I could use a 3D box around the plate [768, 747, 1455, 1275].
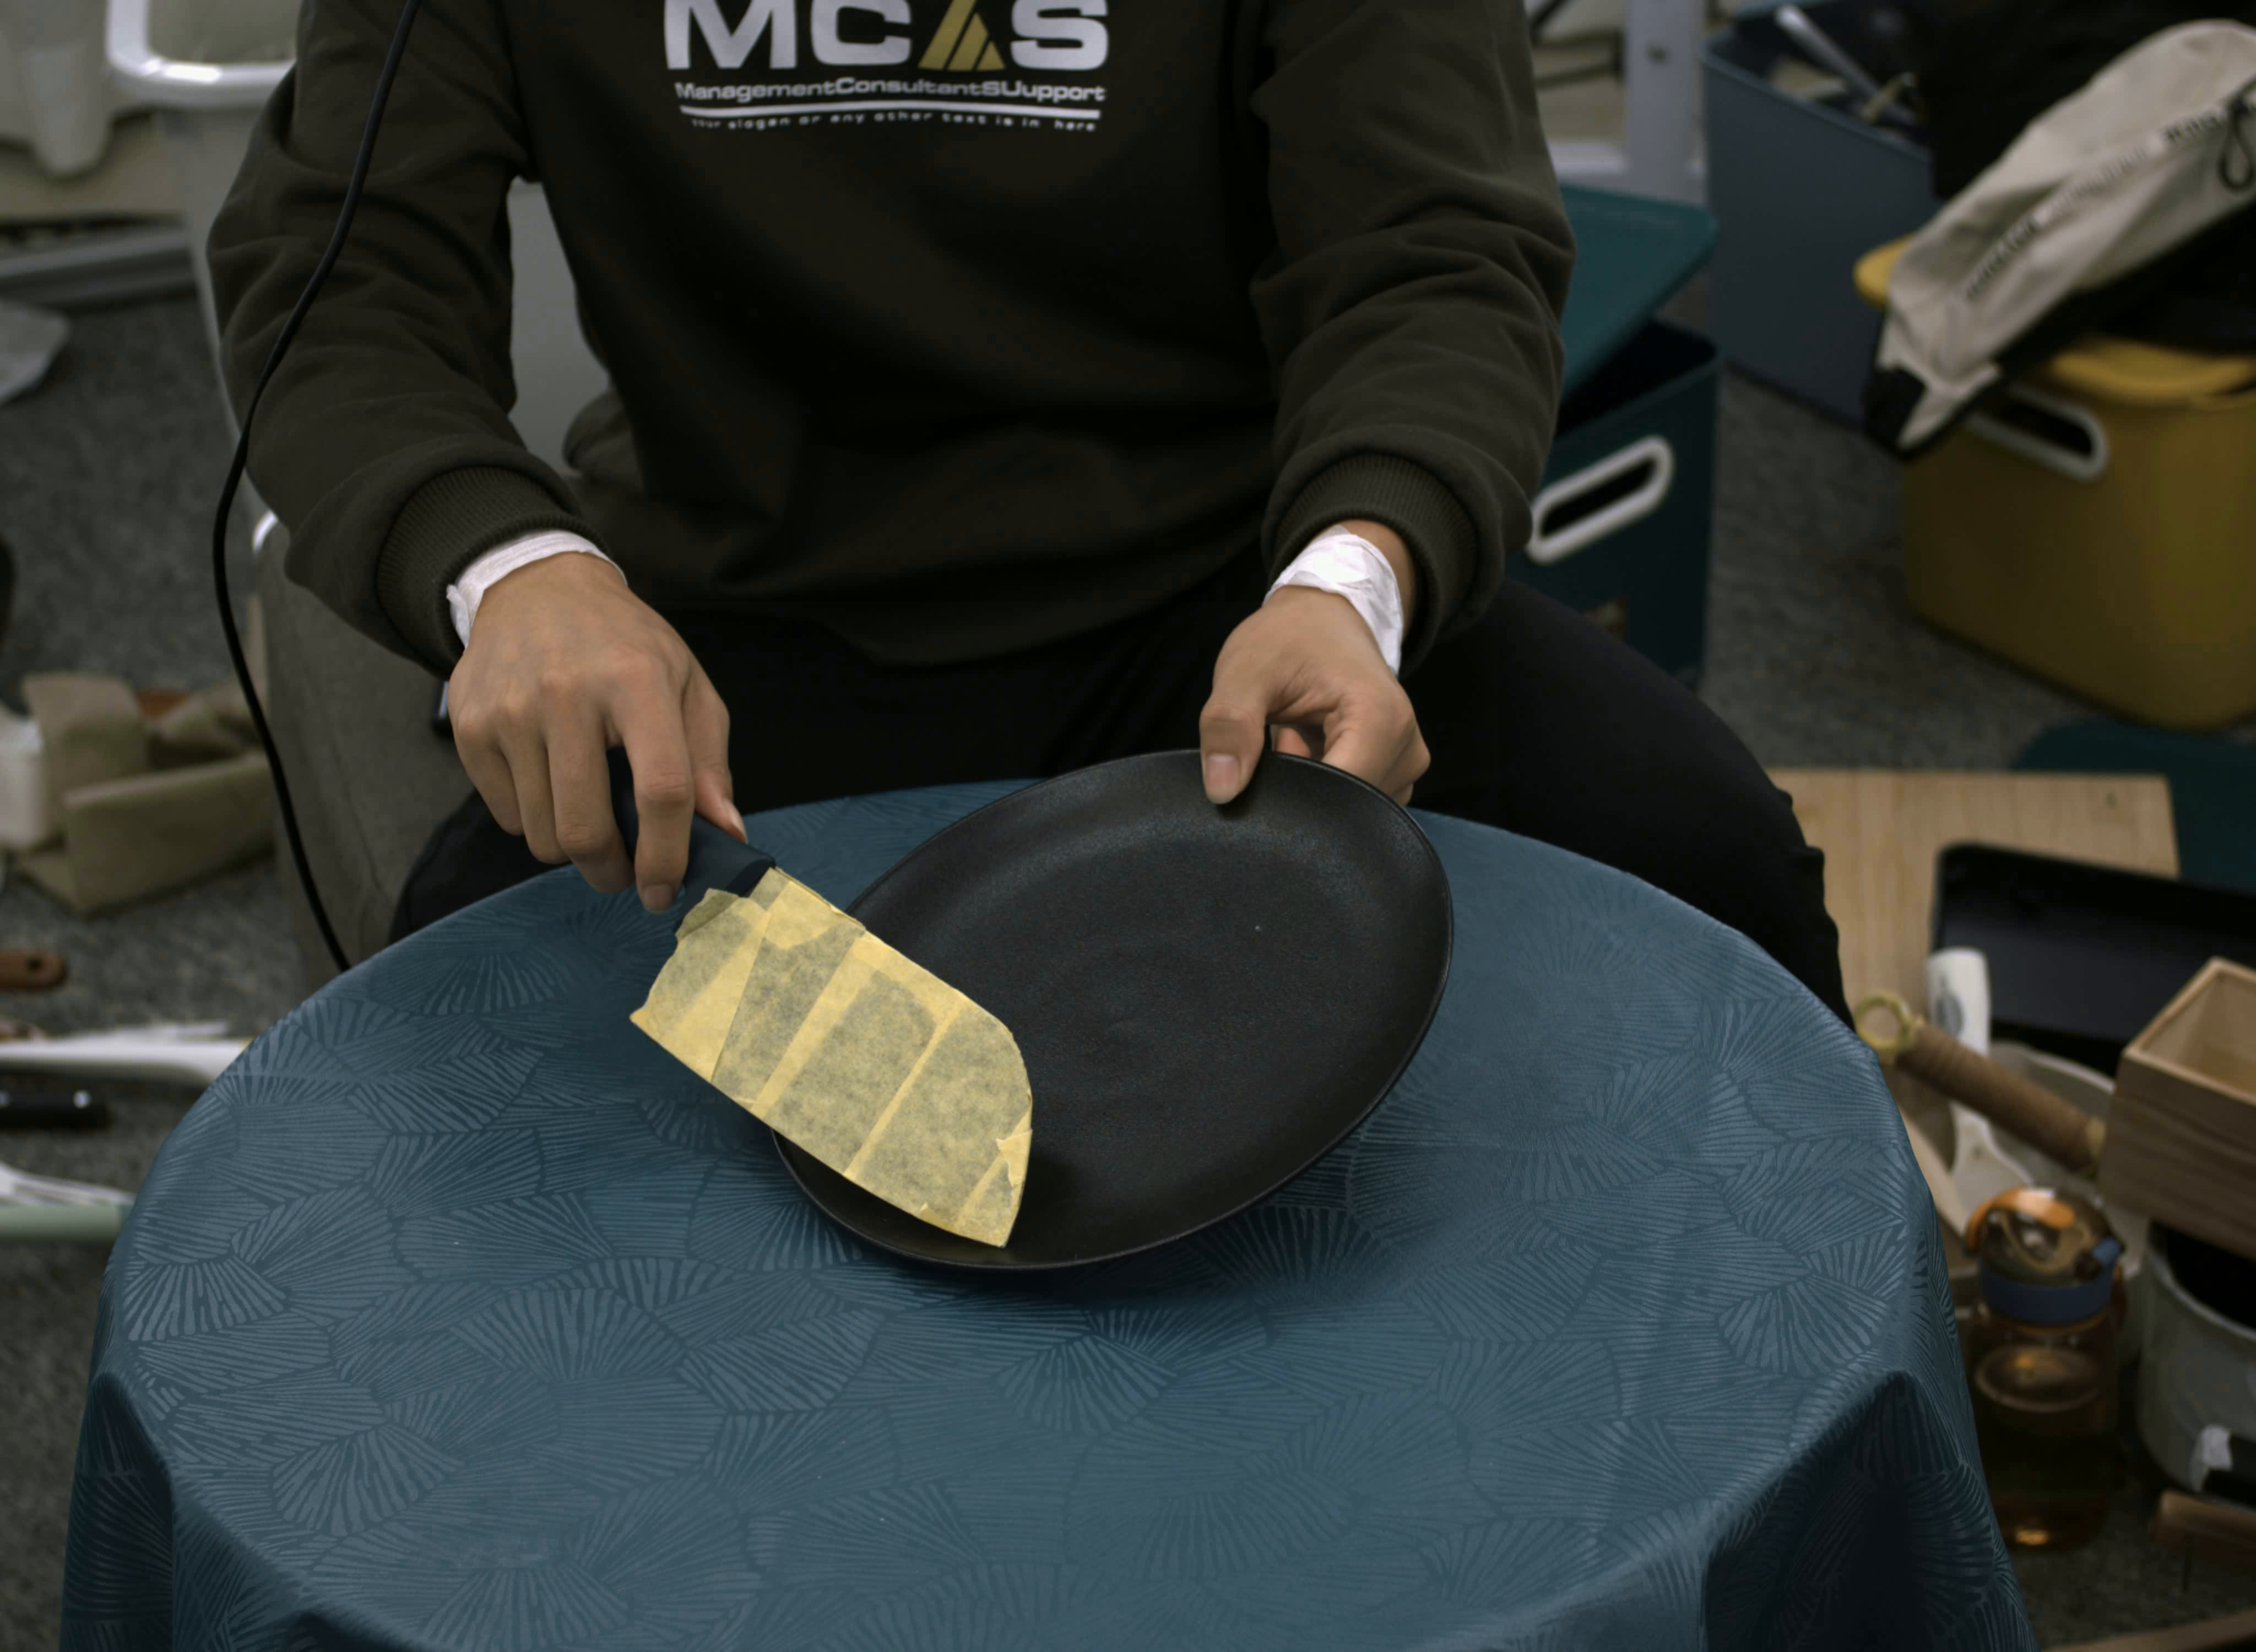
[{"bbox_3d":[-0.005,0.065,1.884,0.242,0.023,0.249,-13,40,11],"label":"plate"}]

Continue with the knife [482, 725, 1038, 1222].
[{"bbox_3d":[-0.130,0.048,1.893,0.290,0.027,0.081,36,87,34],"label":"knife"}]
